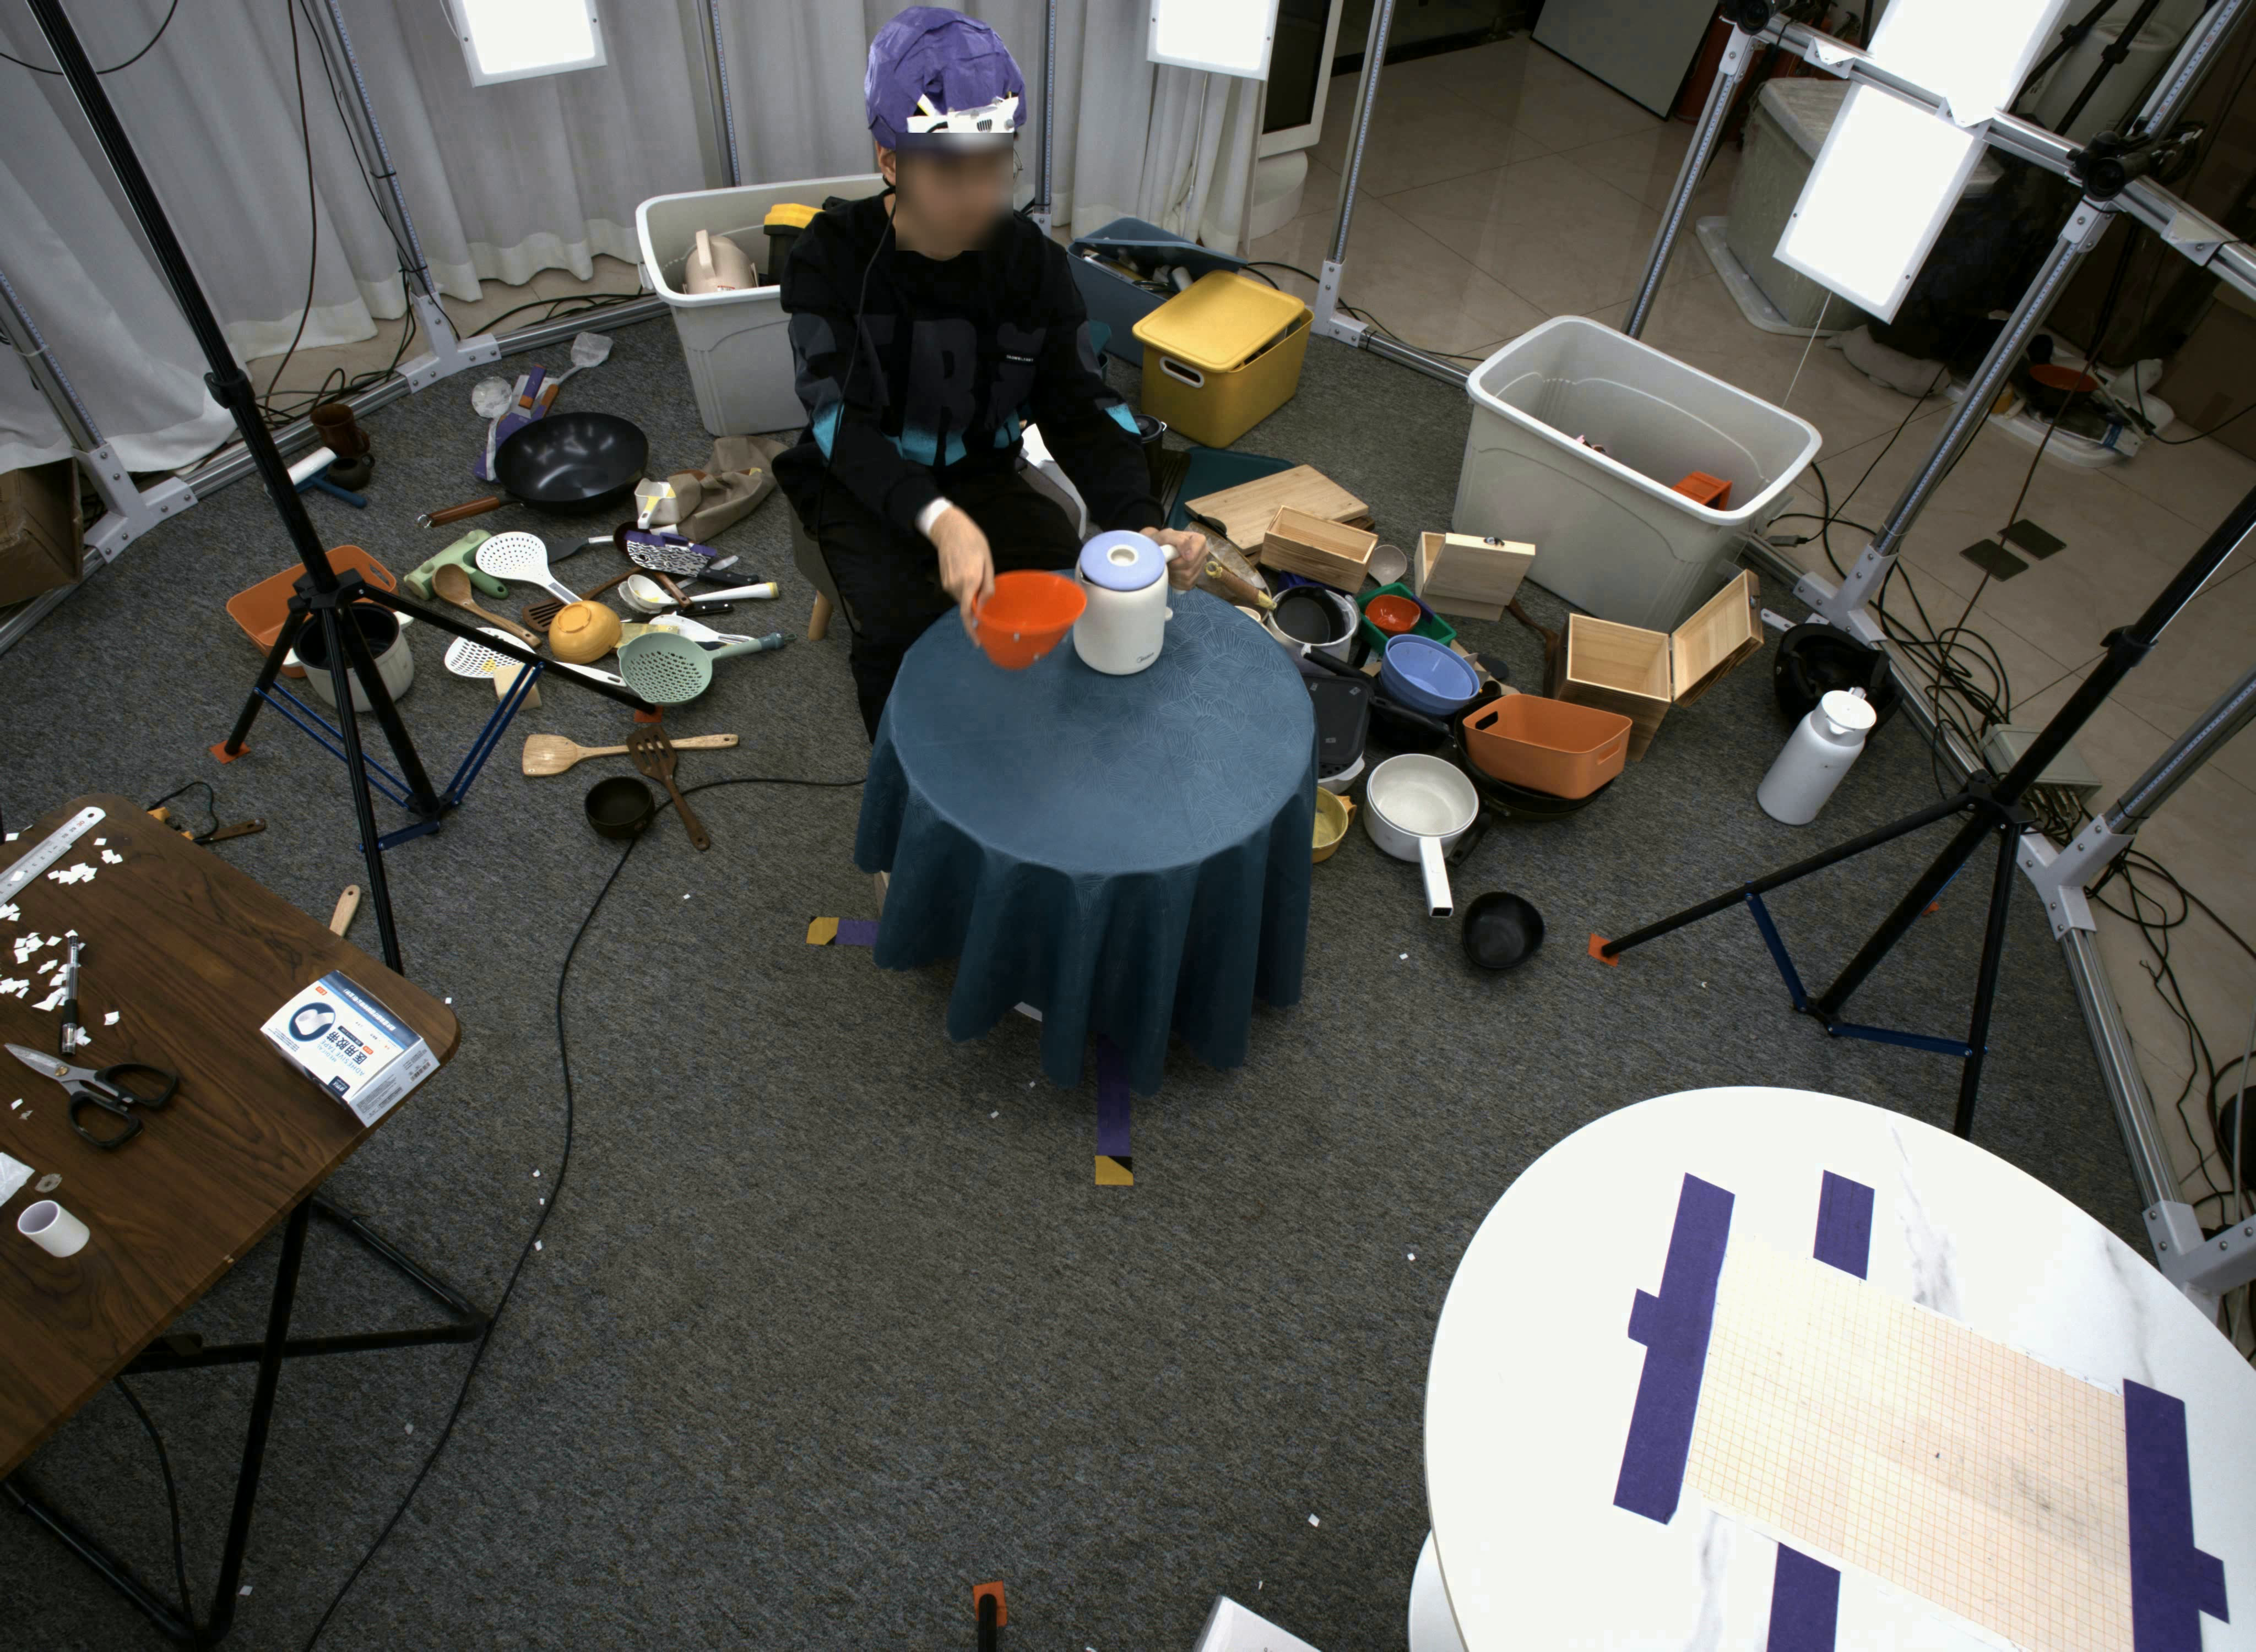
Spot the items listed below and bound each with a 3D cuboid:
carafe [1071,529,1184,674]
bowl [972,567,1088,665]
[{"bbox_3d":[0.006,-0.330,1.839,0.192,0.178,0.134,-29,60,-25],"label":"carafe"},{"bbox_3d":[-0.135,-0.269,1.687,0.147,0.102,0.151,9,39,-8],"label":"bowl"}]
